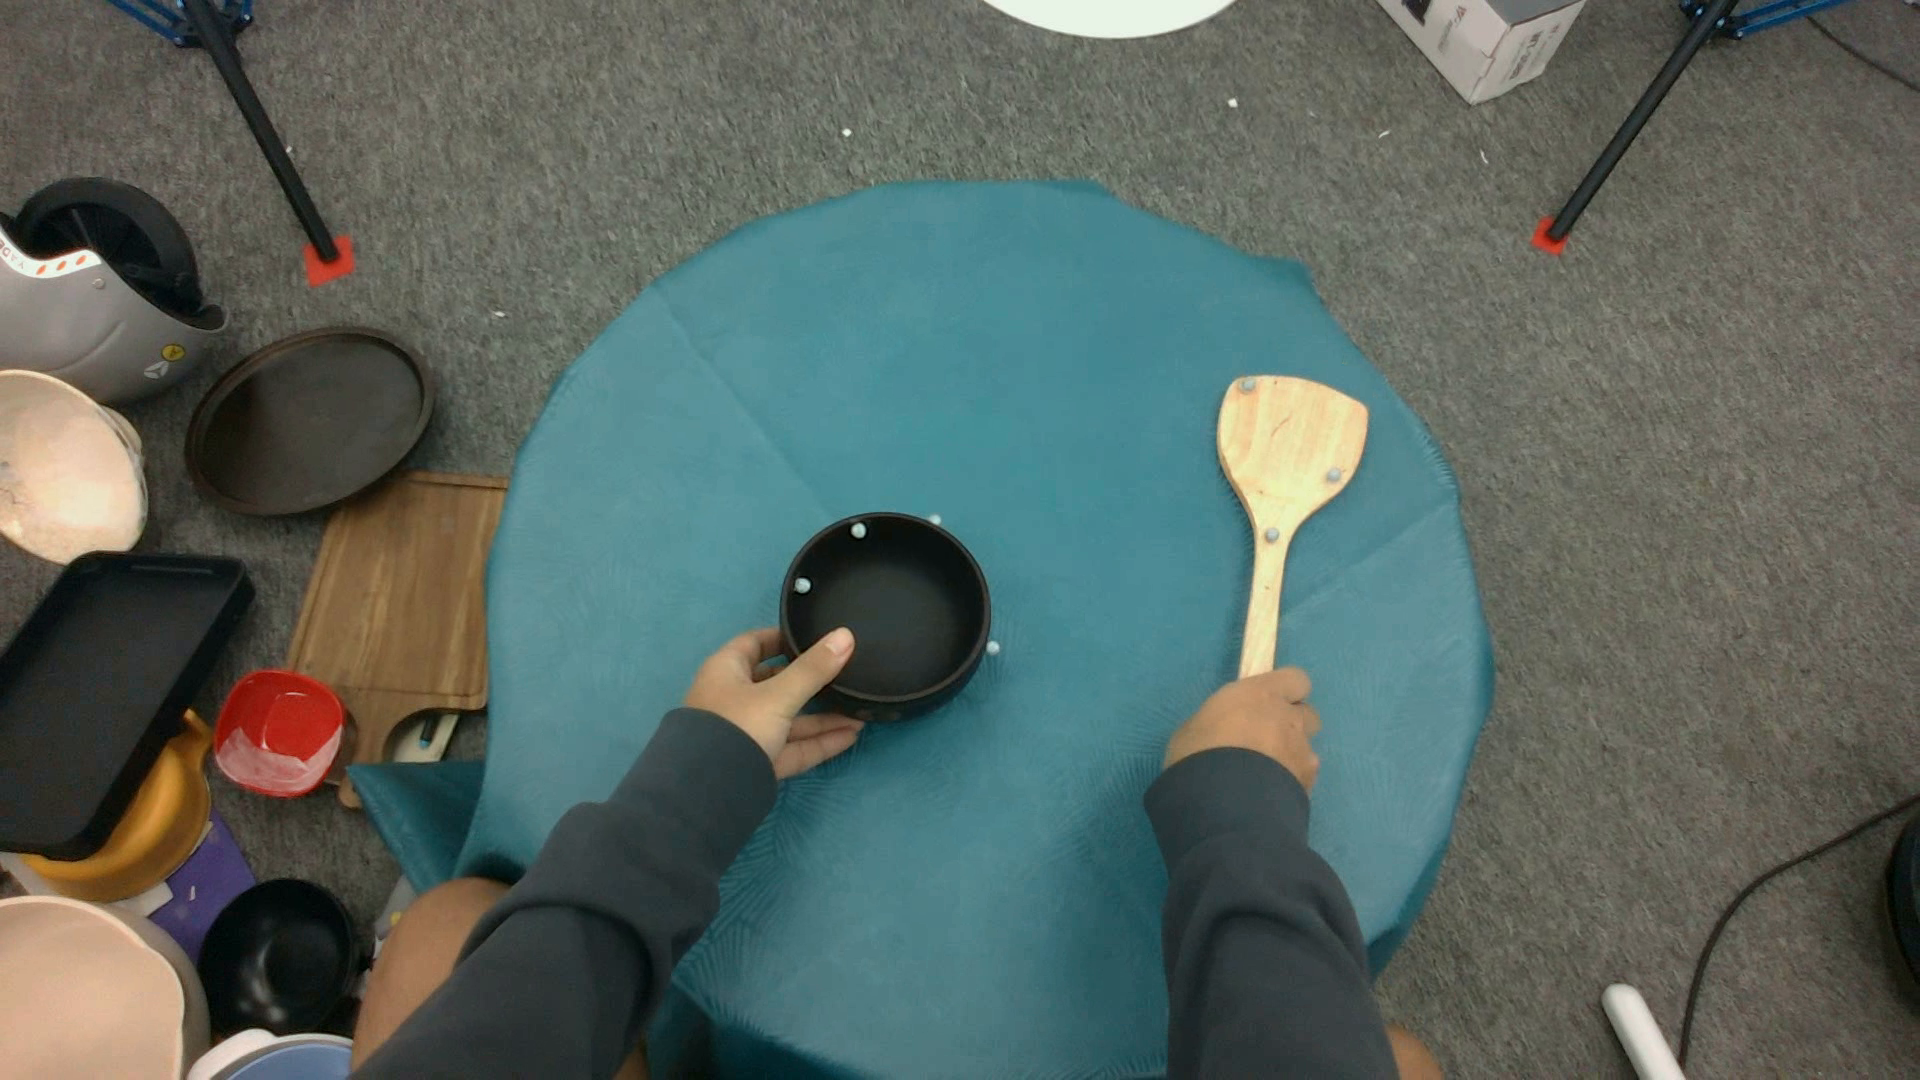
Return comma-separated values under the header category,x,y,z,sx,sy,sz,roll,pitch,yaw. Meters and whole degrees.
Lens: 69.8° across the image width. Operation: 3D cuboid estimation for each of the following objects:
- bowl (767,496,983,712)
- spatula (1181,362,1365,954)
category,x,y,z,sx,sy,sz,roll,pitch,yaw
bowl,-0.048,0.041,0.770,0.118,0.069,0.118,2,65,-4
spatula,0.175,0.051,0.807,0.096,0.018,0.392,13,58,4
